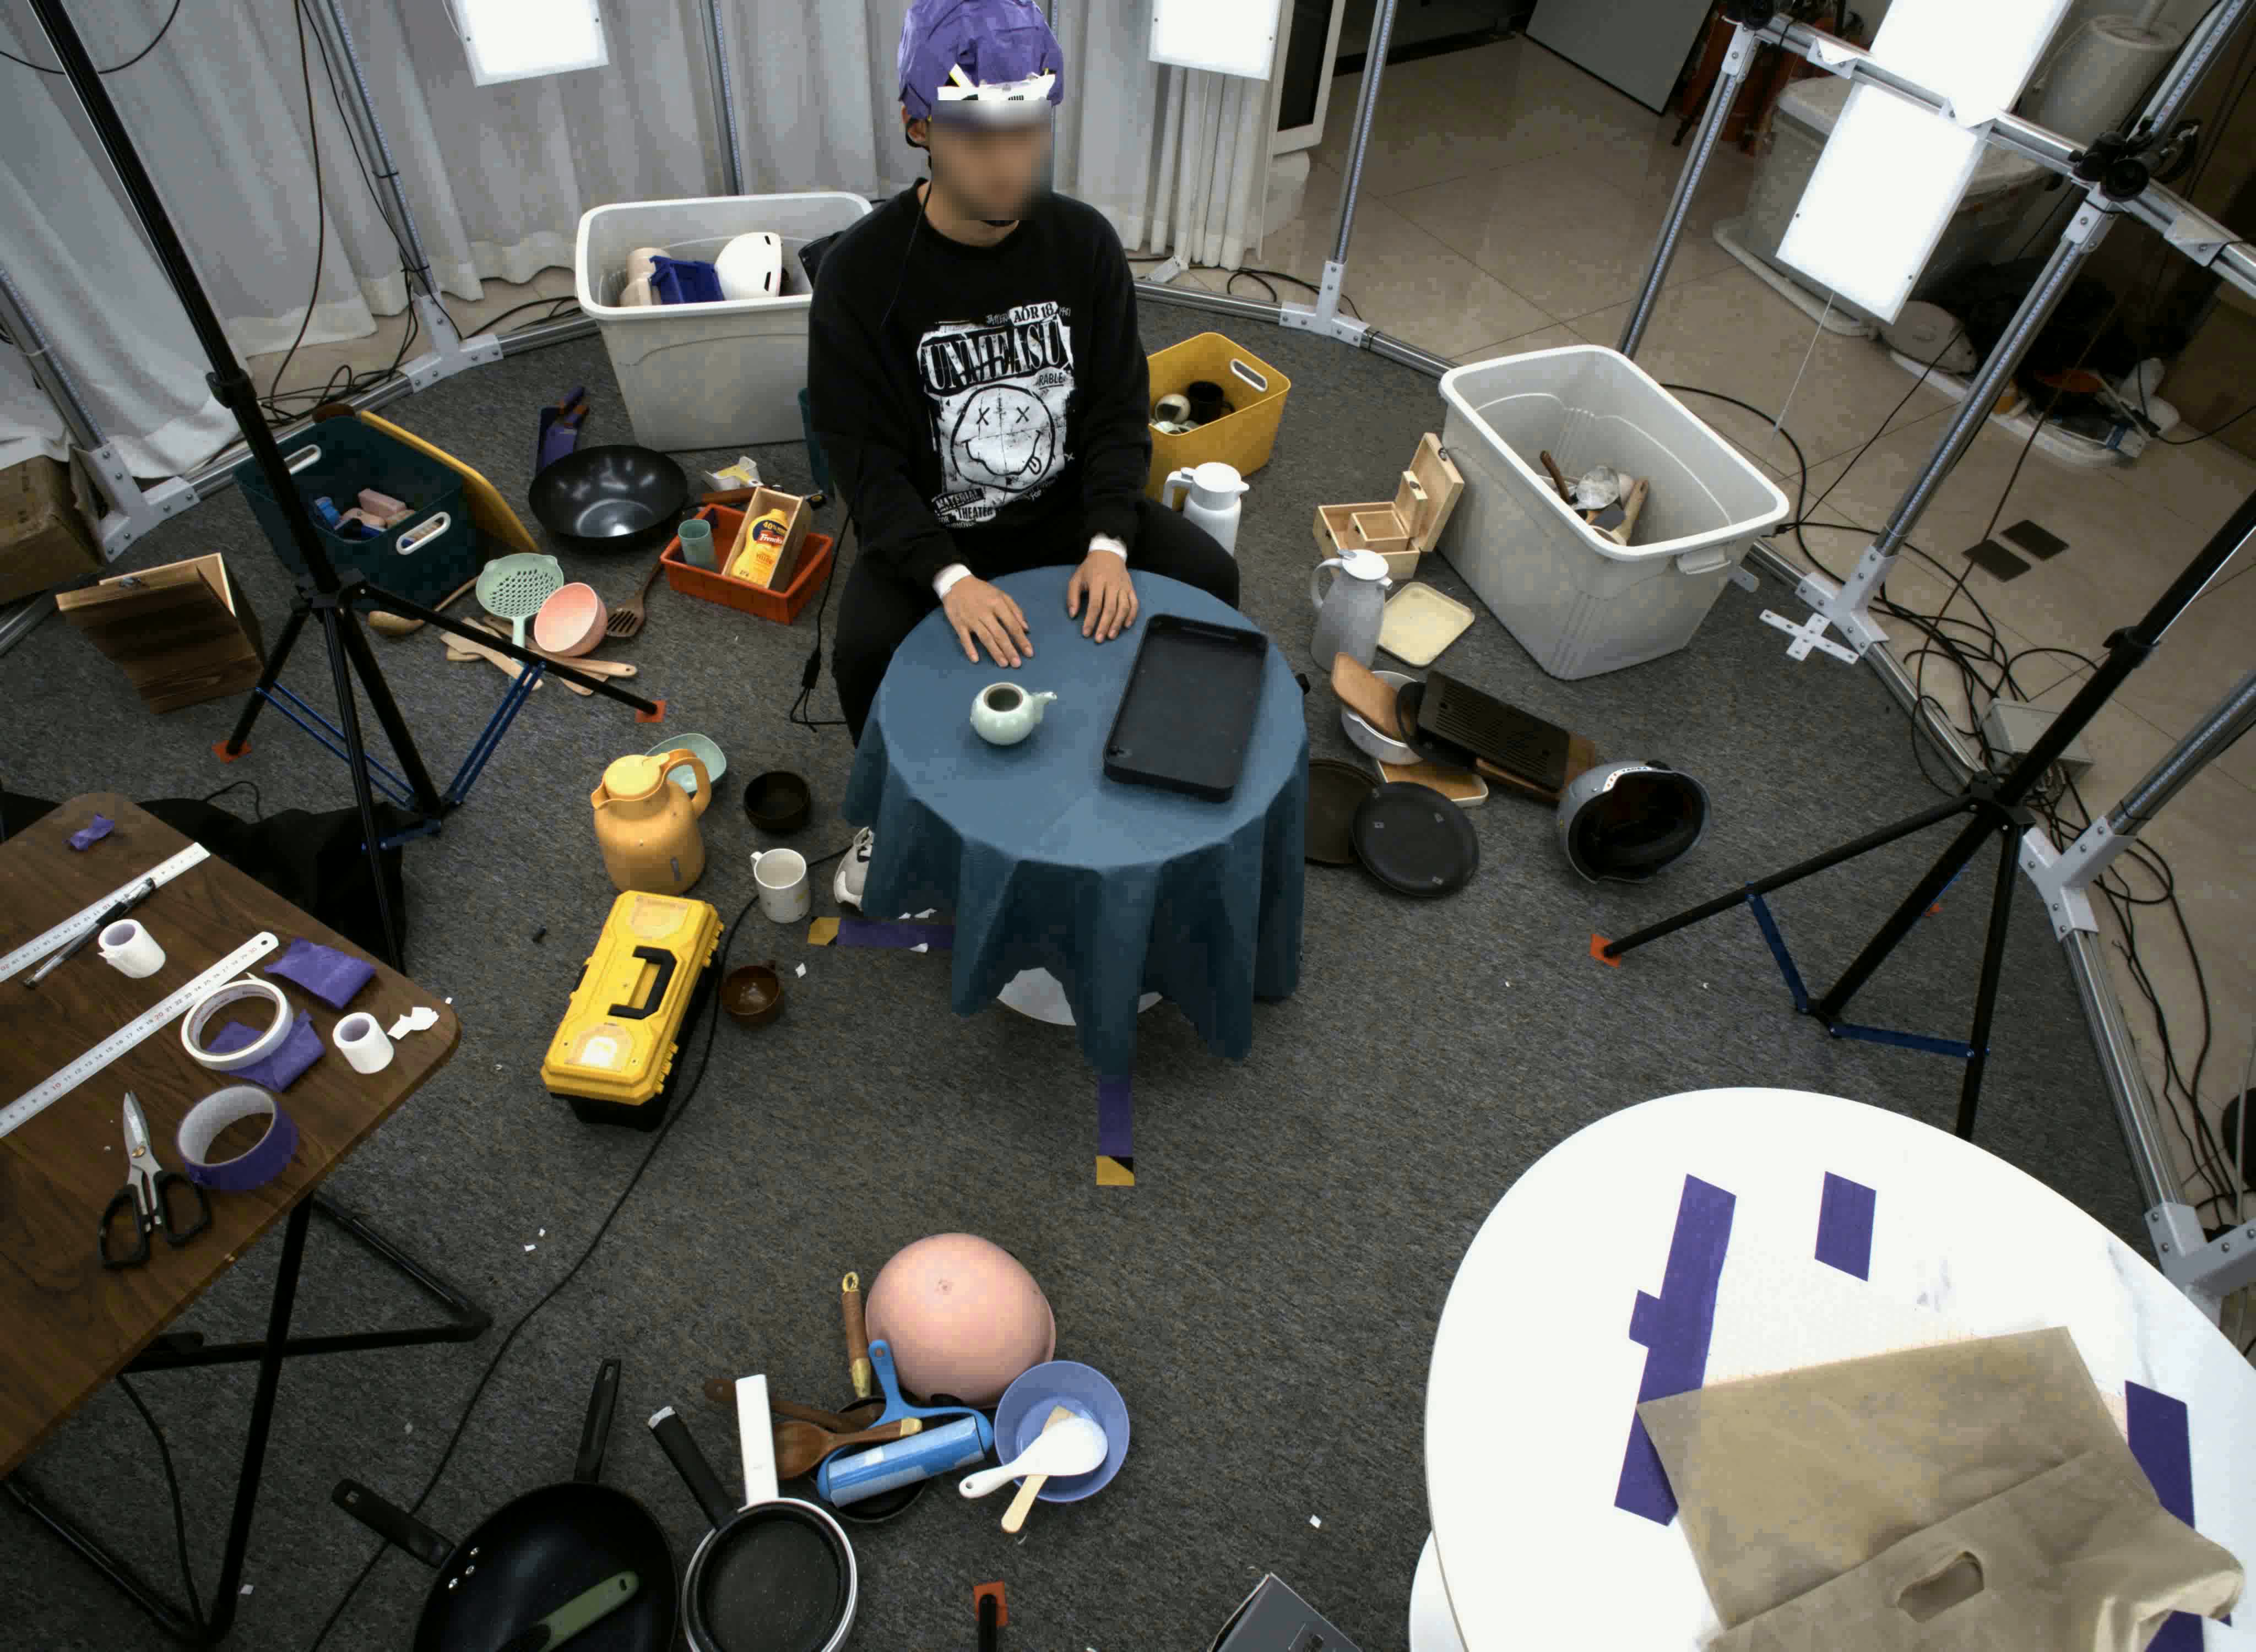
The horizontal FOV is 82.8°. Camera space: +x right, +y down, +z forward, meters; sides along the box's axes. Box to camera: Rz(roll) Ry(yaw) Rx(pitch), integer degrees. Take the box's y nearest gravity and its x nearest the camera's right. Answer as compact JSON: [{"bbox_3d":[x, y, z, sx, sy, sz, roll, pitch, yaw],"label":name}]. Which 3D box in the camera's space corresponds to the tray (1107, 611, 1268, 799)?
[{"bbox_3d":[0.087,-0.176,1.804,0.184,0.036,0.325,10,50,6],"label":"tray"}]

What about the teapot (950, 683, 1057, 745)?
[{"bbox_3d":[-0.169,-0.154,1.745,0.143,0.073,0.090,1,49,-5],"label":"teapot"}]
